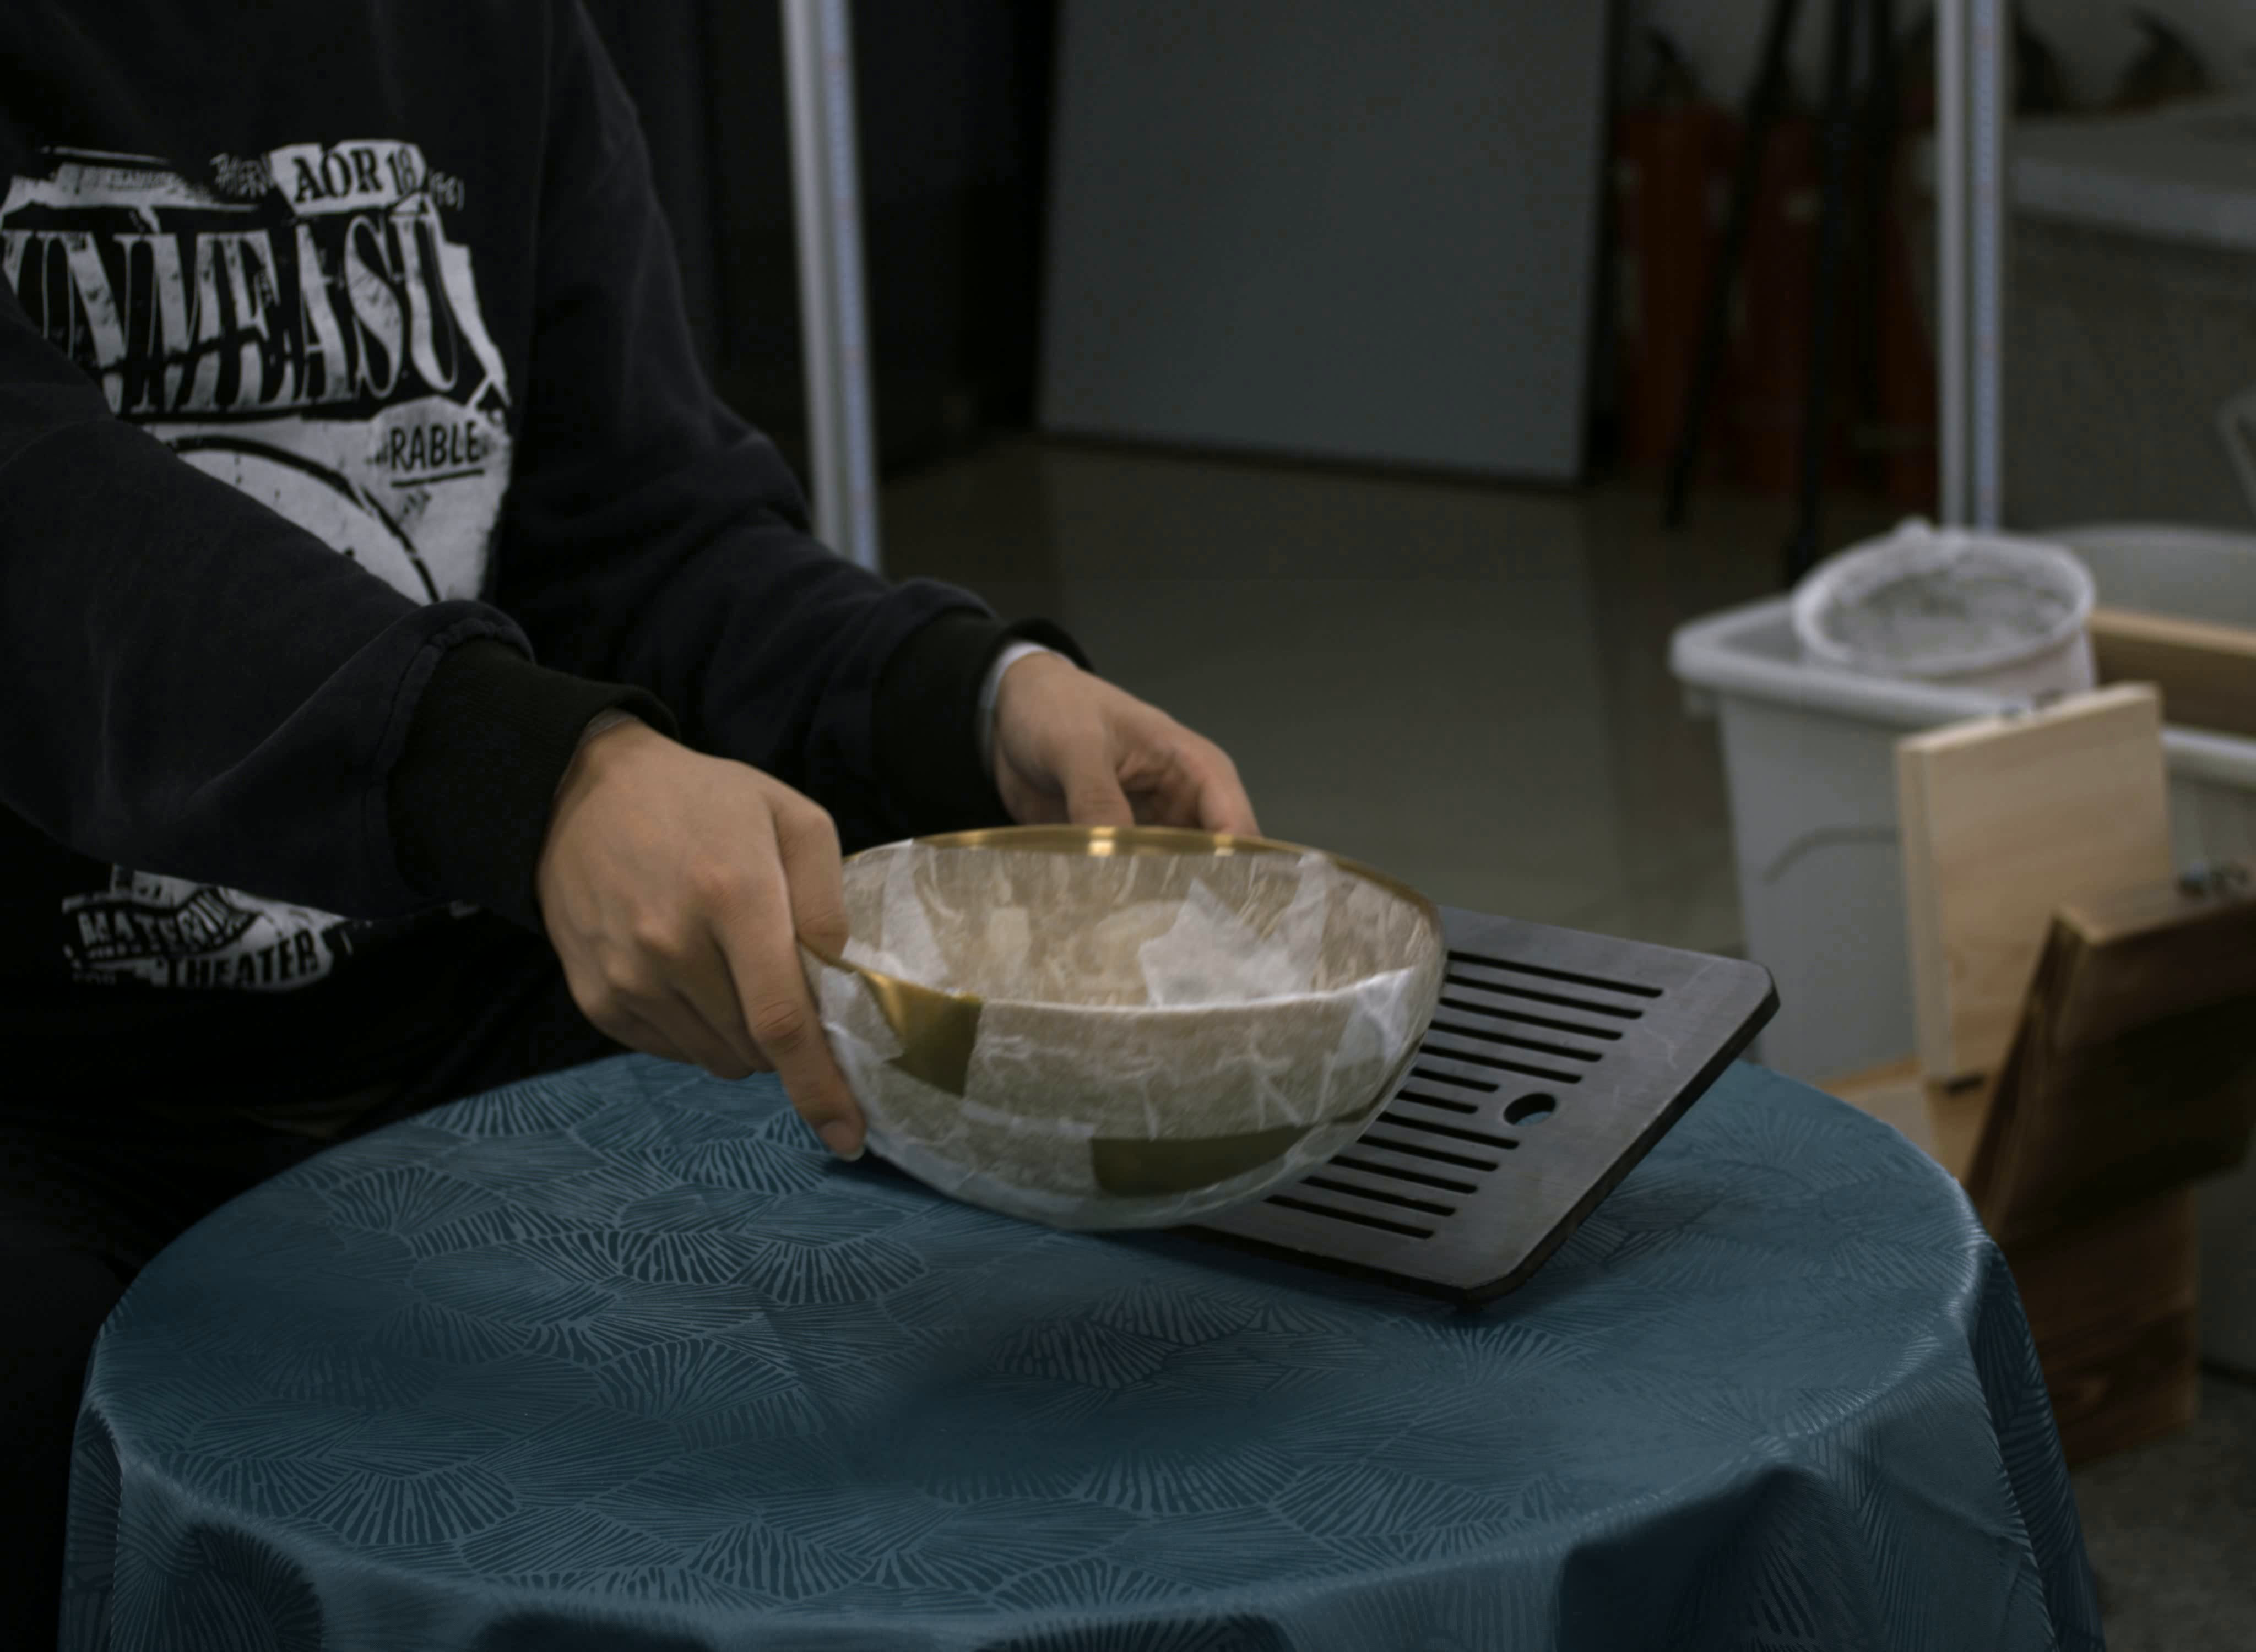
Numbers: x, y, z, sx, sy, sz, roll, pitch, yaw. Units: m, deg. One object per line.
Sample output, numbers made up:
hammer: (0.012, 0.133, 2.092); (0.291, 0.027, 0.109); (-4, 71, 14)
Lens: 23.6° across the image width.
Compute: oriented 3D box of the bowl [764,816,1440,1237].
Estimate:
bowl: (-0.008, 0.067, 1.617); (0.212, 0.095, 0.215); (1, 15, -1)

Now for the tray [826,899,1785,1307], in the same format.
tray: (0.055, 0.079, 1.766); (0.309, 0.018, 0.168); (9, 42, 44)
